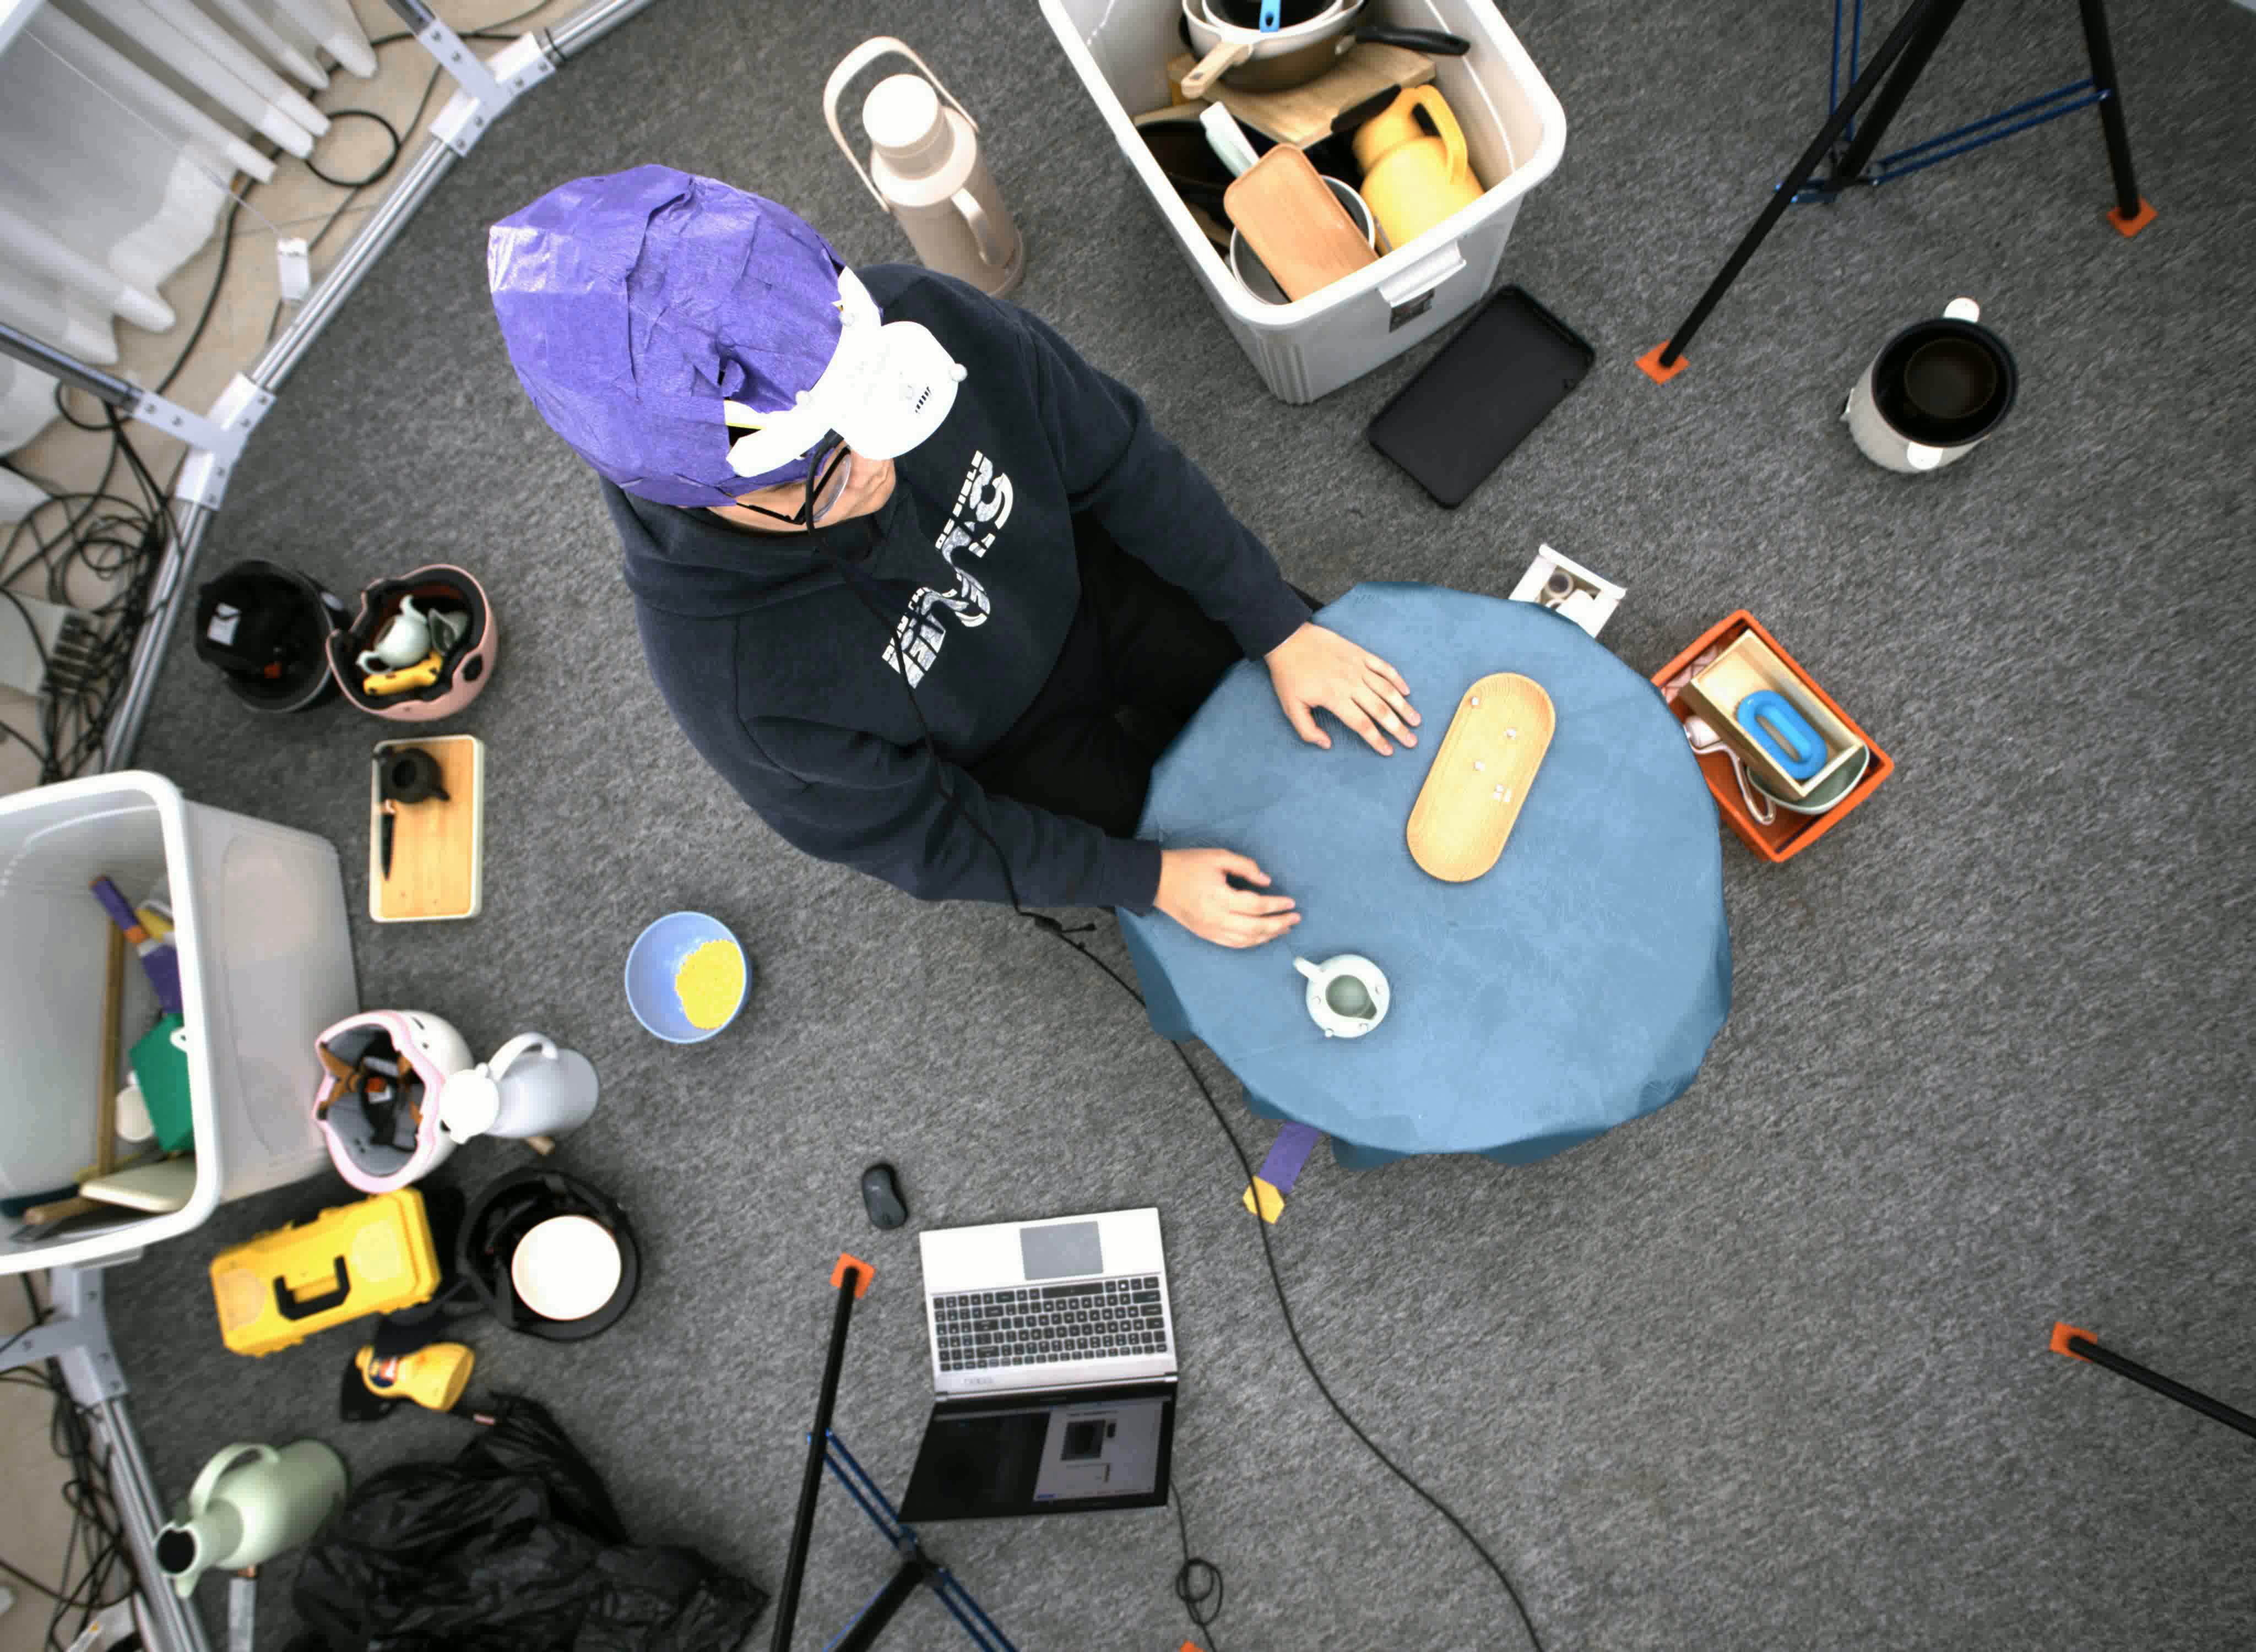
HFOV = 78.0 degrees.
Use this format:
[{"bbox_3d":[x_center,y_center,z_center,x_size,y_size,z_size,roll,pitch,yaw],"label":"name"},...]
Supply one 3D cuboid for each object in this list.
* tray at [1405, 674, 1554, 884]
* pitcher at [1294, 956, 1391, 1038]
[{"bbox_3d":[0.369,-0.051,1.441,0.101,0.020,0.231,24,93,13],"label":"tray"},{"bbox_3d":[0.219,0.169,1.437,0.107,0.060,0.086,32,91,14],"label":"pitcher"}]
